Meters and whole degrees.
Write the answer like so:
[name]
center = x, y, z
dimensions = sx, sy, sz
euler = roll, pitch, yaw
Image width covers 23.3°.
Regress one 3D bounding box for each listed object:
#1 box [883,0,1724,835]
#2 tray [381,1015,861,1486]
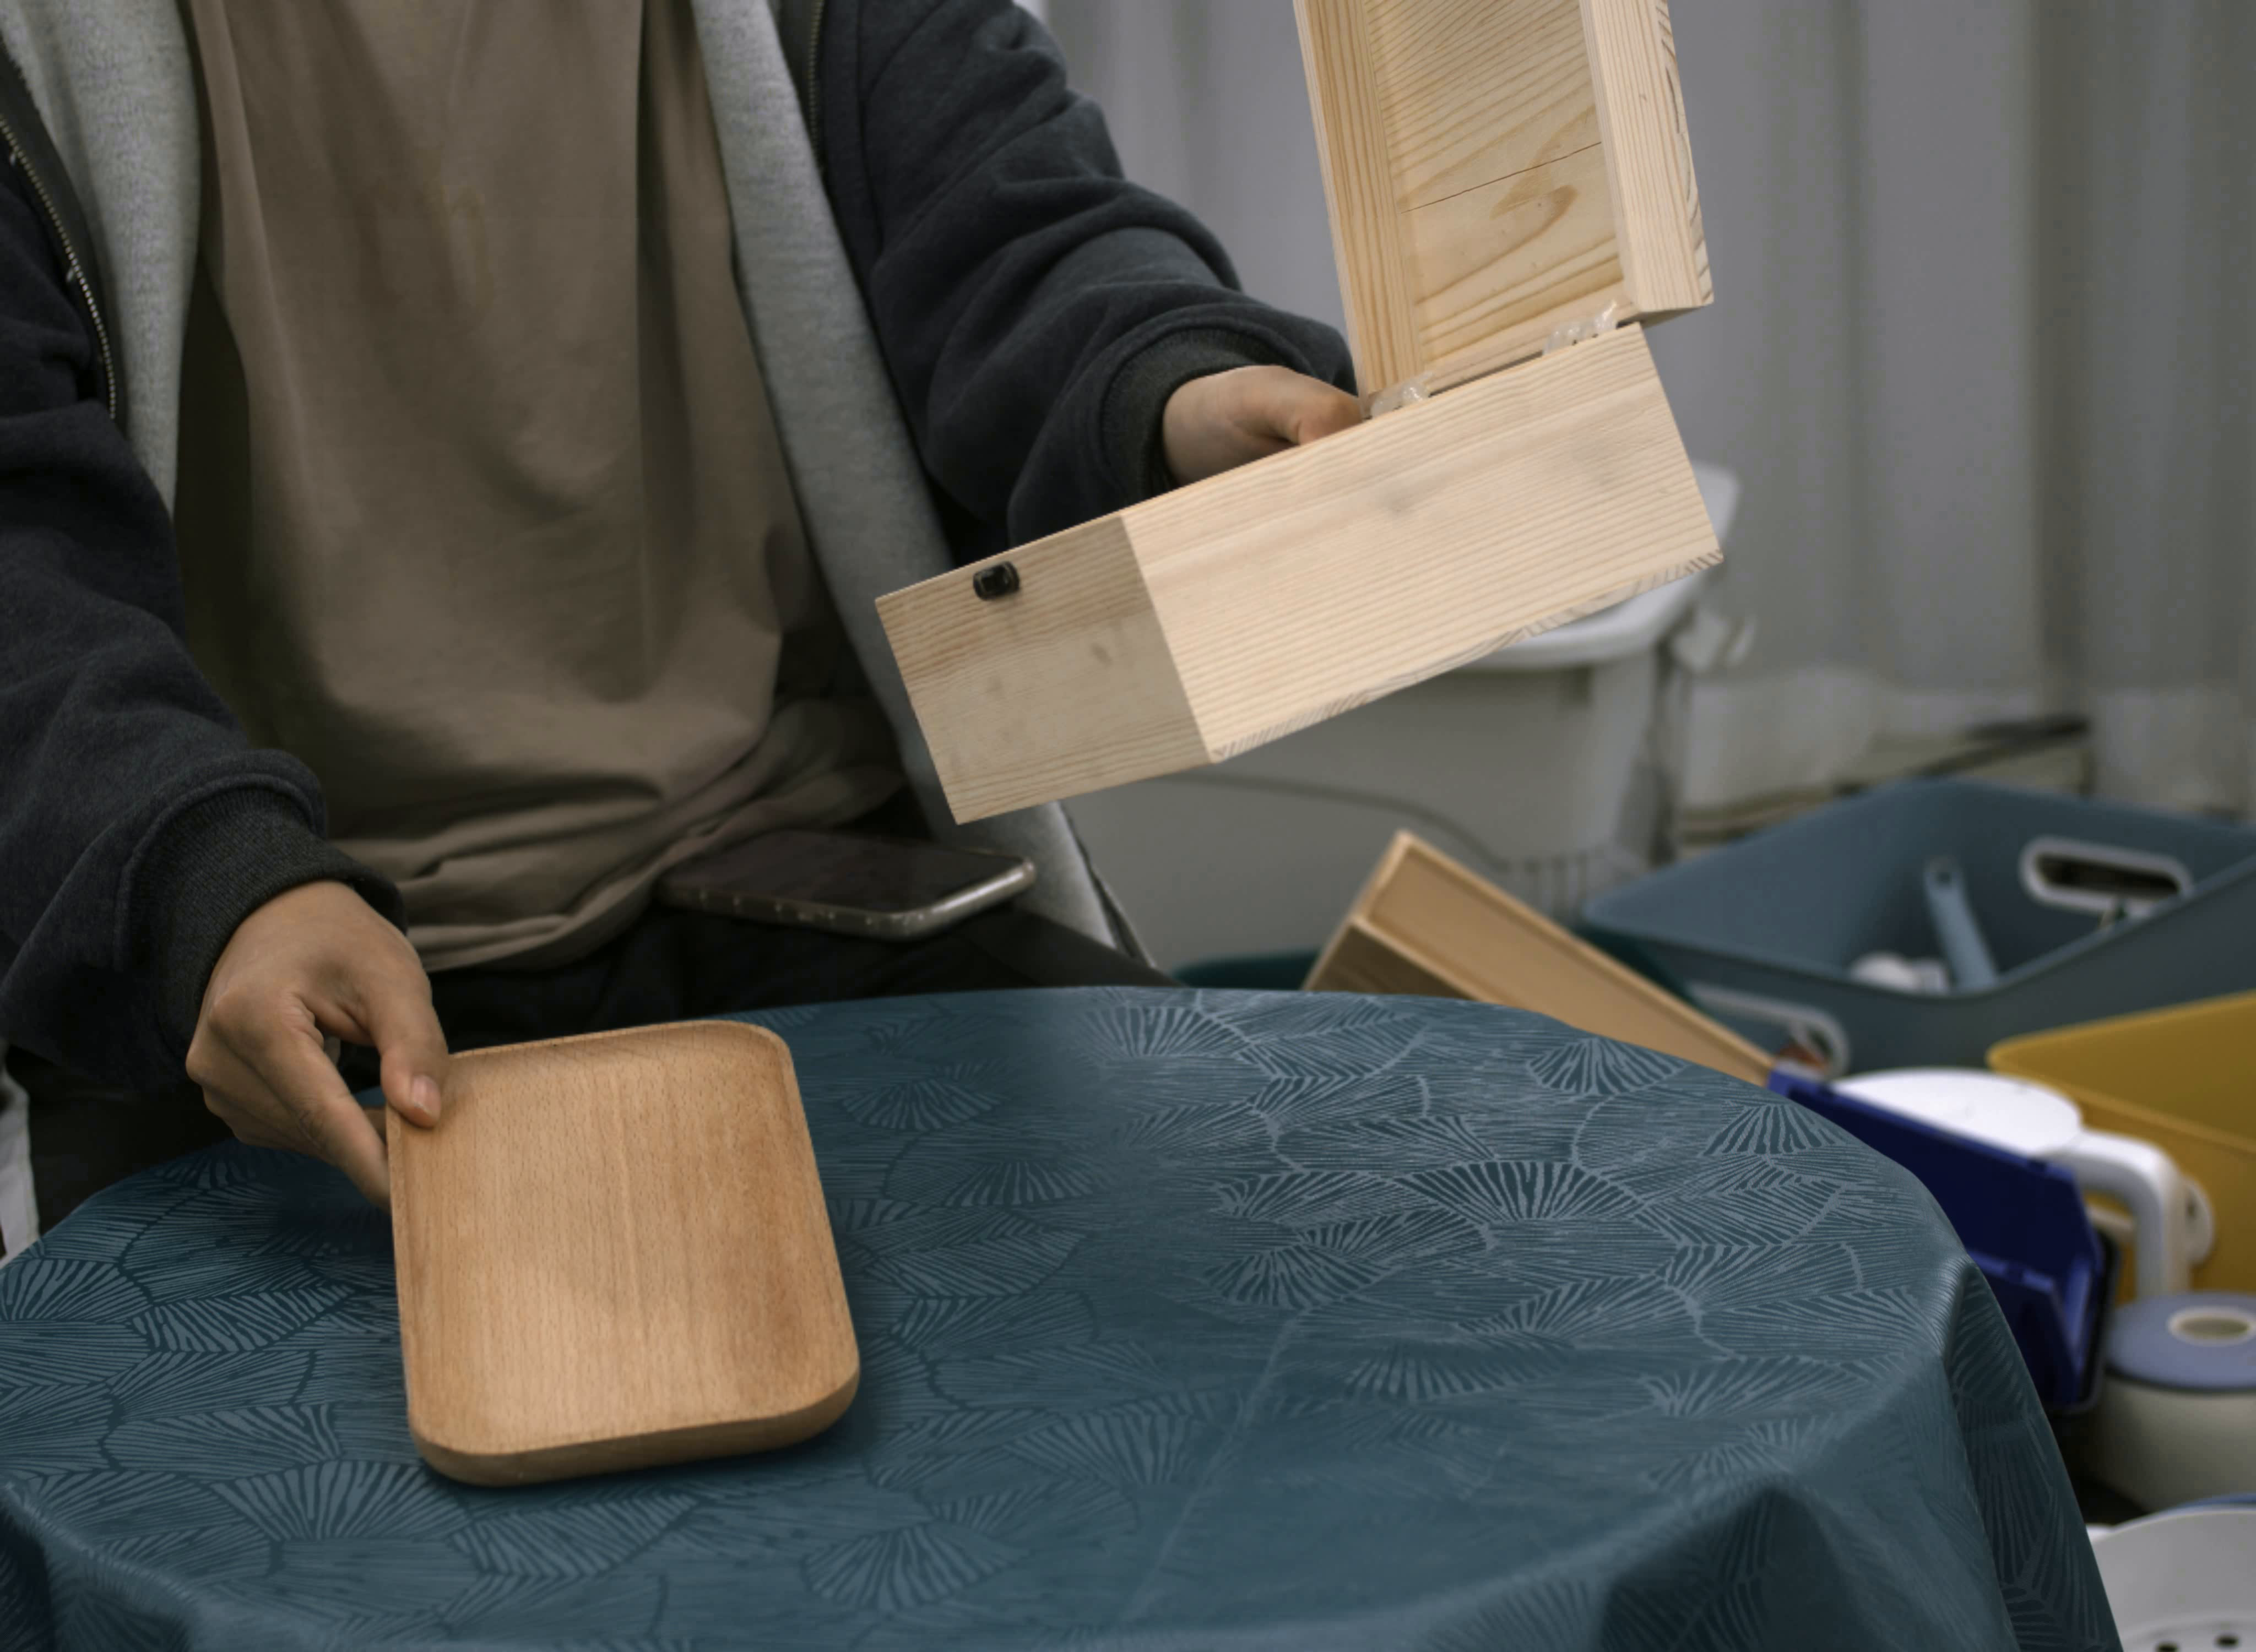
[box]
center = 0.049, -0.165, 1.649
dimensions = 0.265, 0.254, 0.181
euler = -20, -1, -26
[tray]
center = -0.152, 0.121, 1.607
dimensions = 0.130, 0.023, 0.253
euler = -5, 24, -7
